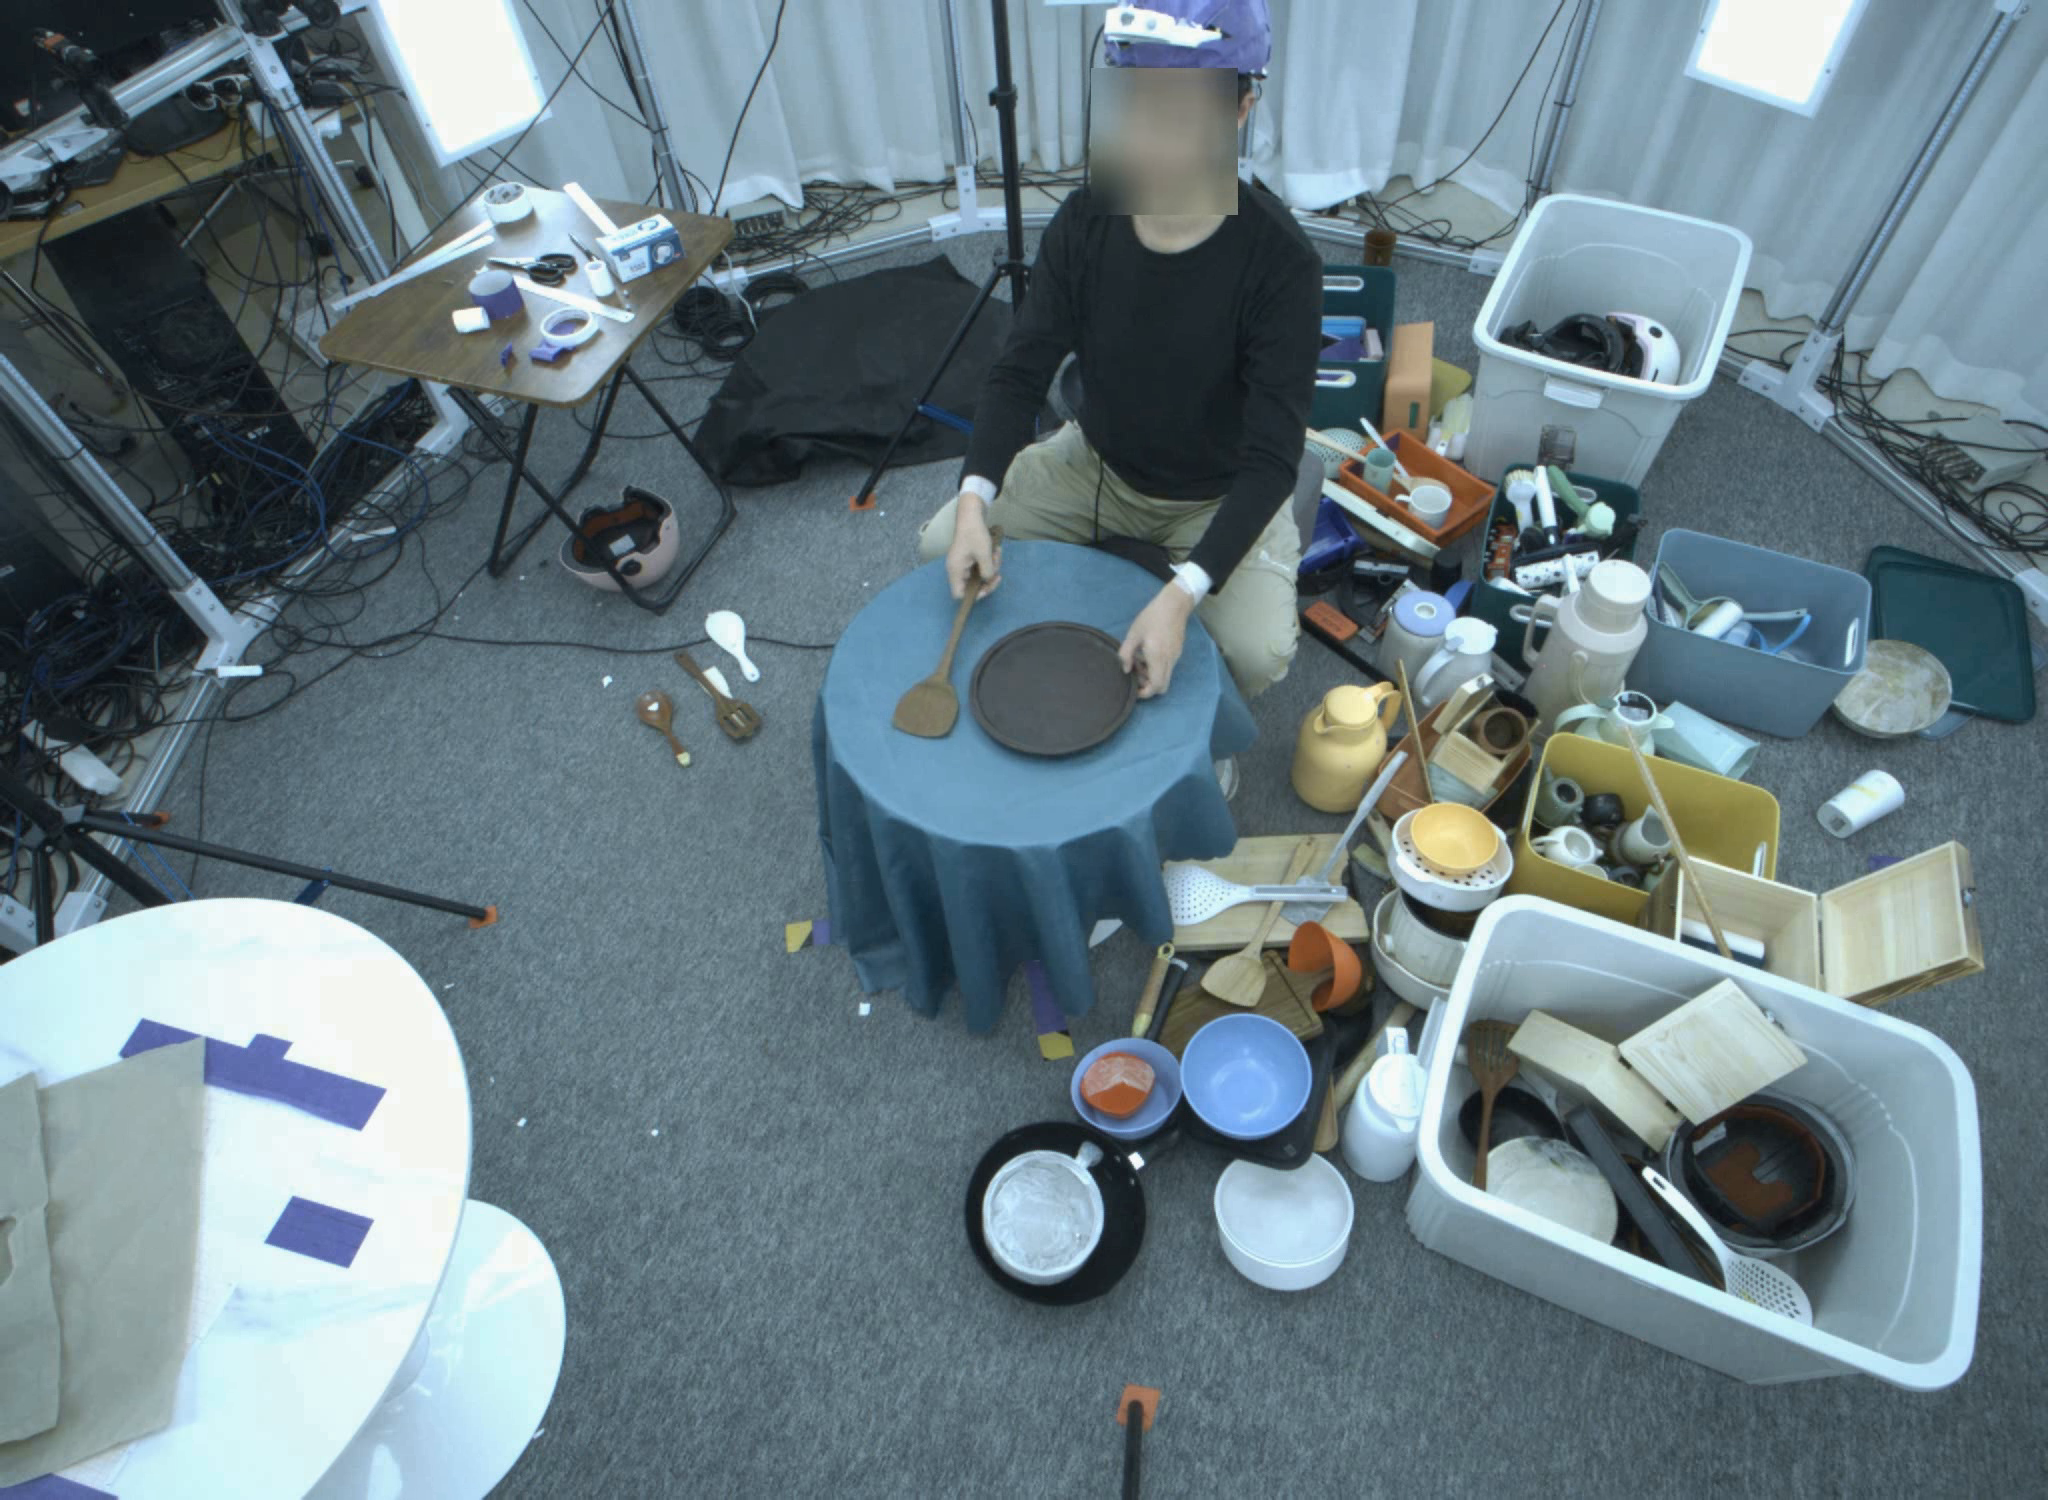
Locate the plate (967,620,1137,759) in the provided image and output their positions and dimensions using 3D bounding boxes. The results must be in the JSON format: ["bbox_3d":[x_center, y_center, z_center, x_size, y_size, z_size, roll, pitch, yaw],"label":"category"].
[{"bbox_3d":[0.042,-0.092,1.834,0.254,0.029,0.252,-2,57,4],"label":"plate"}]

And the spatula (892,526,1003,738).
[{"bbox_3d":[-0.100,-0.190,1.879,0.095,0.016,0.385,14,69,12],"label":"spatula"}]
